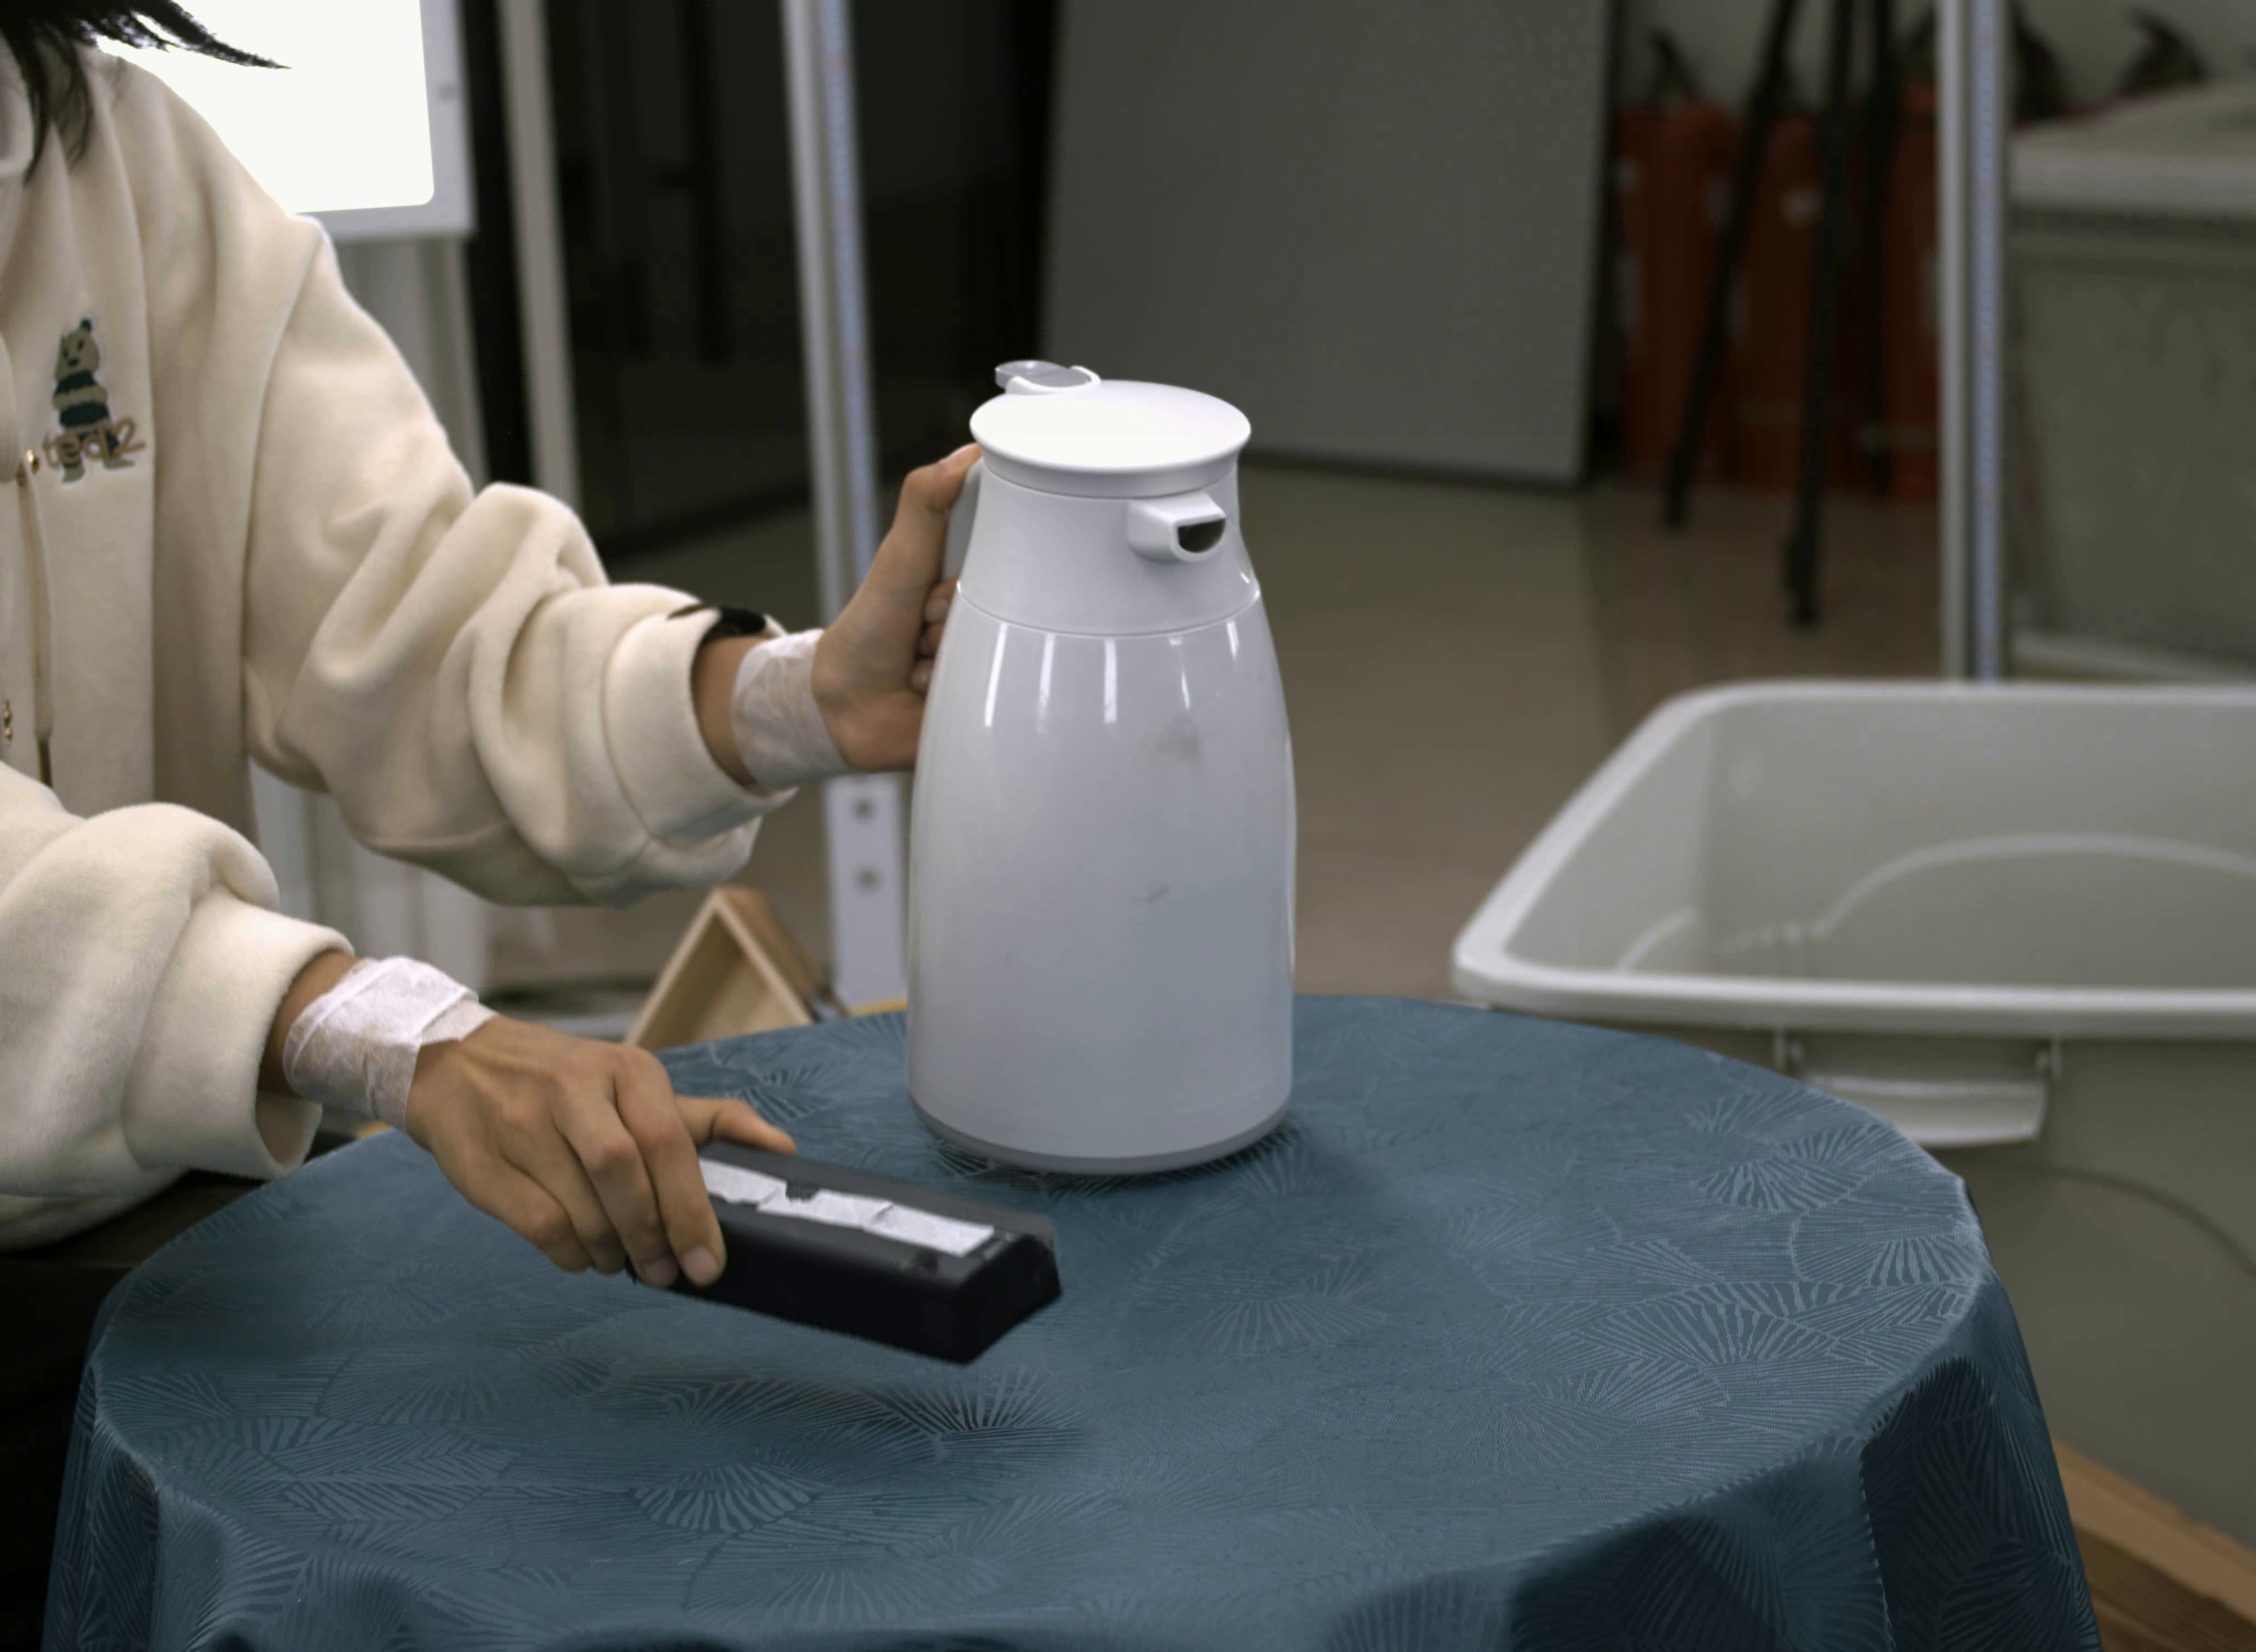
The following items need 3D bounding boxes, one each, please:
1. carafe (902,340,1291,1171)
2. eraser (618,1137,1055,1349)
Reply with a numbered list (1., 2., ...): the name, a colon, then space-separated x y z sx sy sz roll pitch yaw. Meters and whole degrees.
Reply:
1. carafe: -0.020 -0.032 1.799 0.129 0.251 0.169 -11 23 -26
2. eraser: -0.084 0.121 1.585 0.126 0.031 0.053 9 25 31
